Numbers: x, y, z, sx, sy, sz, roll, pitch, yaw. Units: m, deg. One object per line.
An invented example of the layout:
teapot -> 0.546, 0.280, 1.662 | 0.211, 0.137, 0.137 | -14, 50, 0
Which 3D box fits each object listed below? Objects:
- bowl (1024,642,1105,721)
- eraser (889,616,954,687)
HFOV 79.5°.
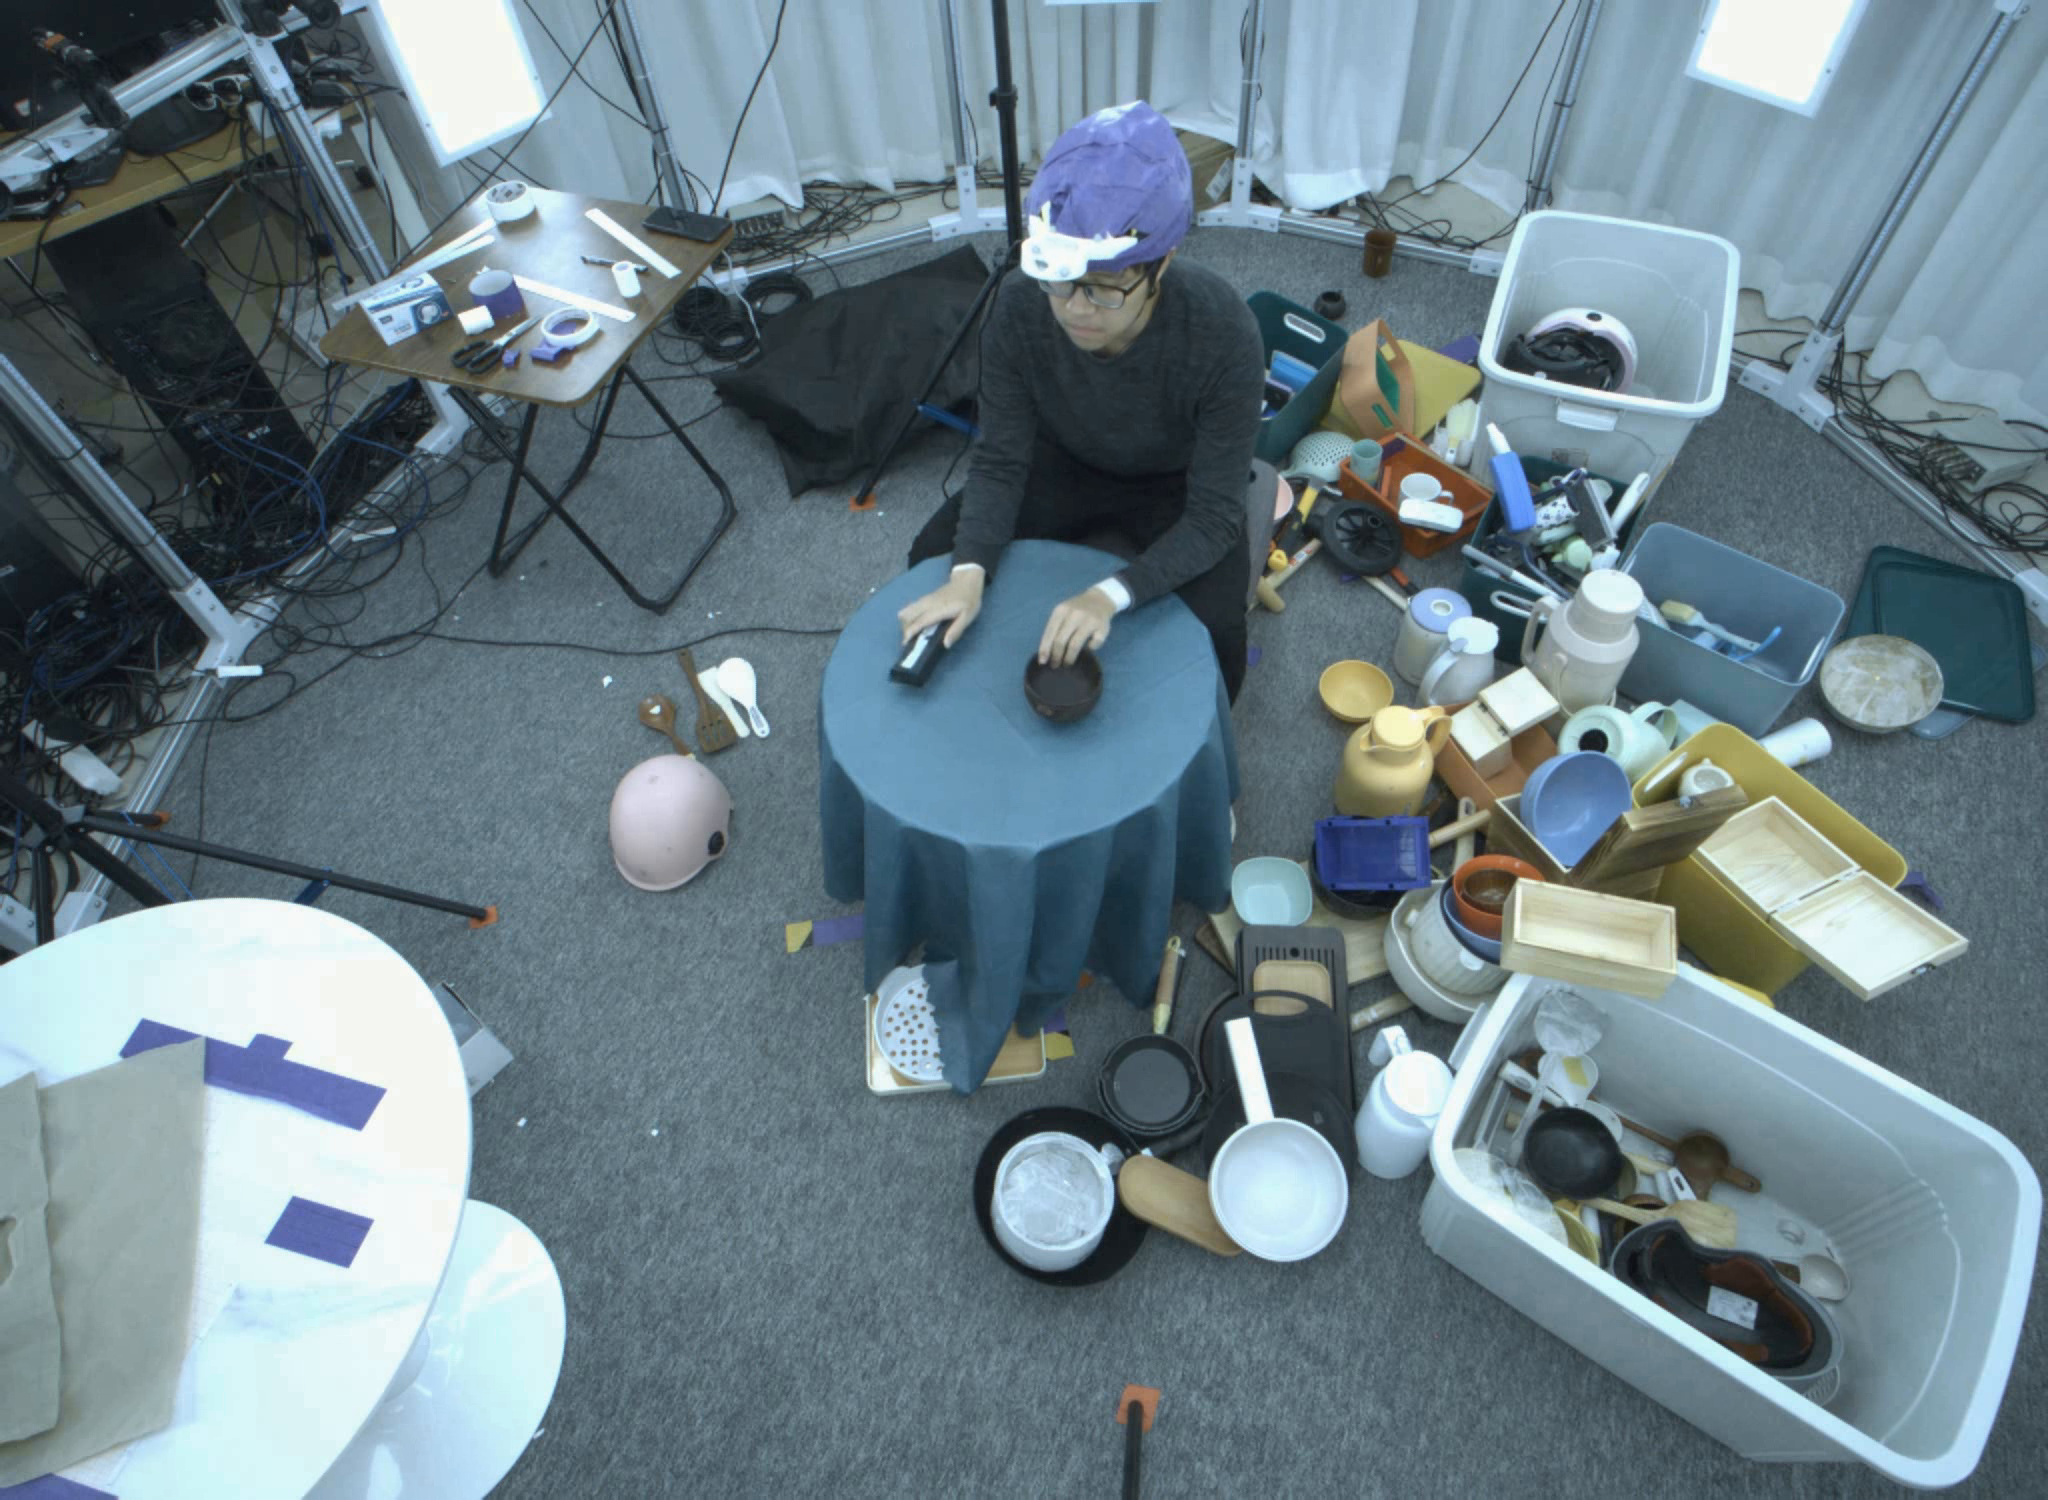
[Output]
bowl -> 0.058, -0.093, 1.804 | 0.118, 0.070, 0.117 | 2, 57, -2
eraser -> -0.154, -0.150, 1.857 | 0.053, 0.031, 0.125 | 12, 53, 19
